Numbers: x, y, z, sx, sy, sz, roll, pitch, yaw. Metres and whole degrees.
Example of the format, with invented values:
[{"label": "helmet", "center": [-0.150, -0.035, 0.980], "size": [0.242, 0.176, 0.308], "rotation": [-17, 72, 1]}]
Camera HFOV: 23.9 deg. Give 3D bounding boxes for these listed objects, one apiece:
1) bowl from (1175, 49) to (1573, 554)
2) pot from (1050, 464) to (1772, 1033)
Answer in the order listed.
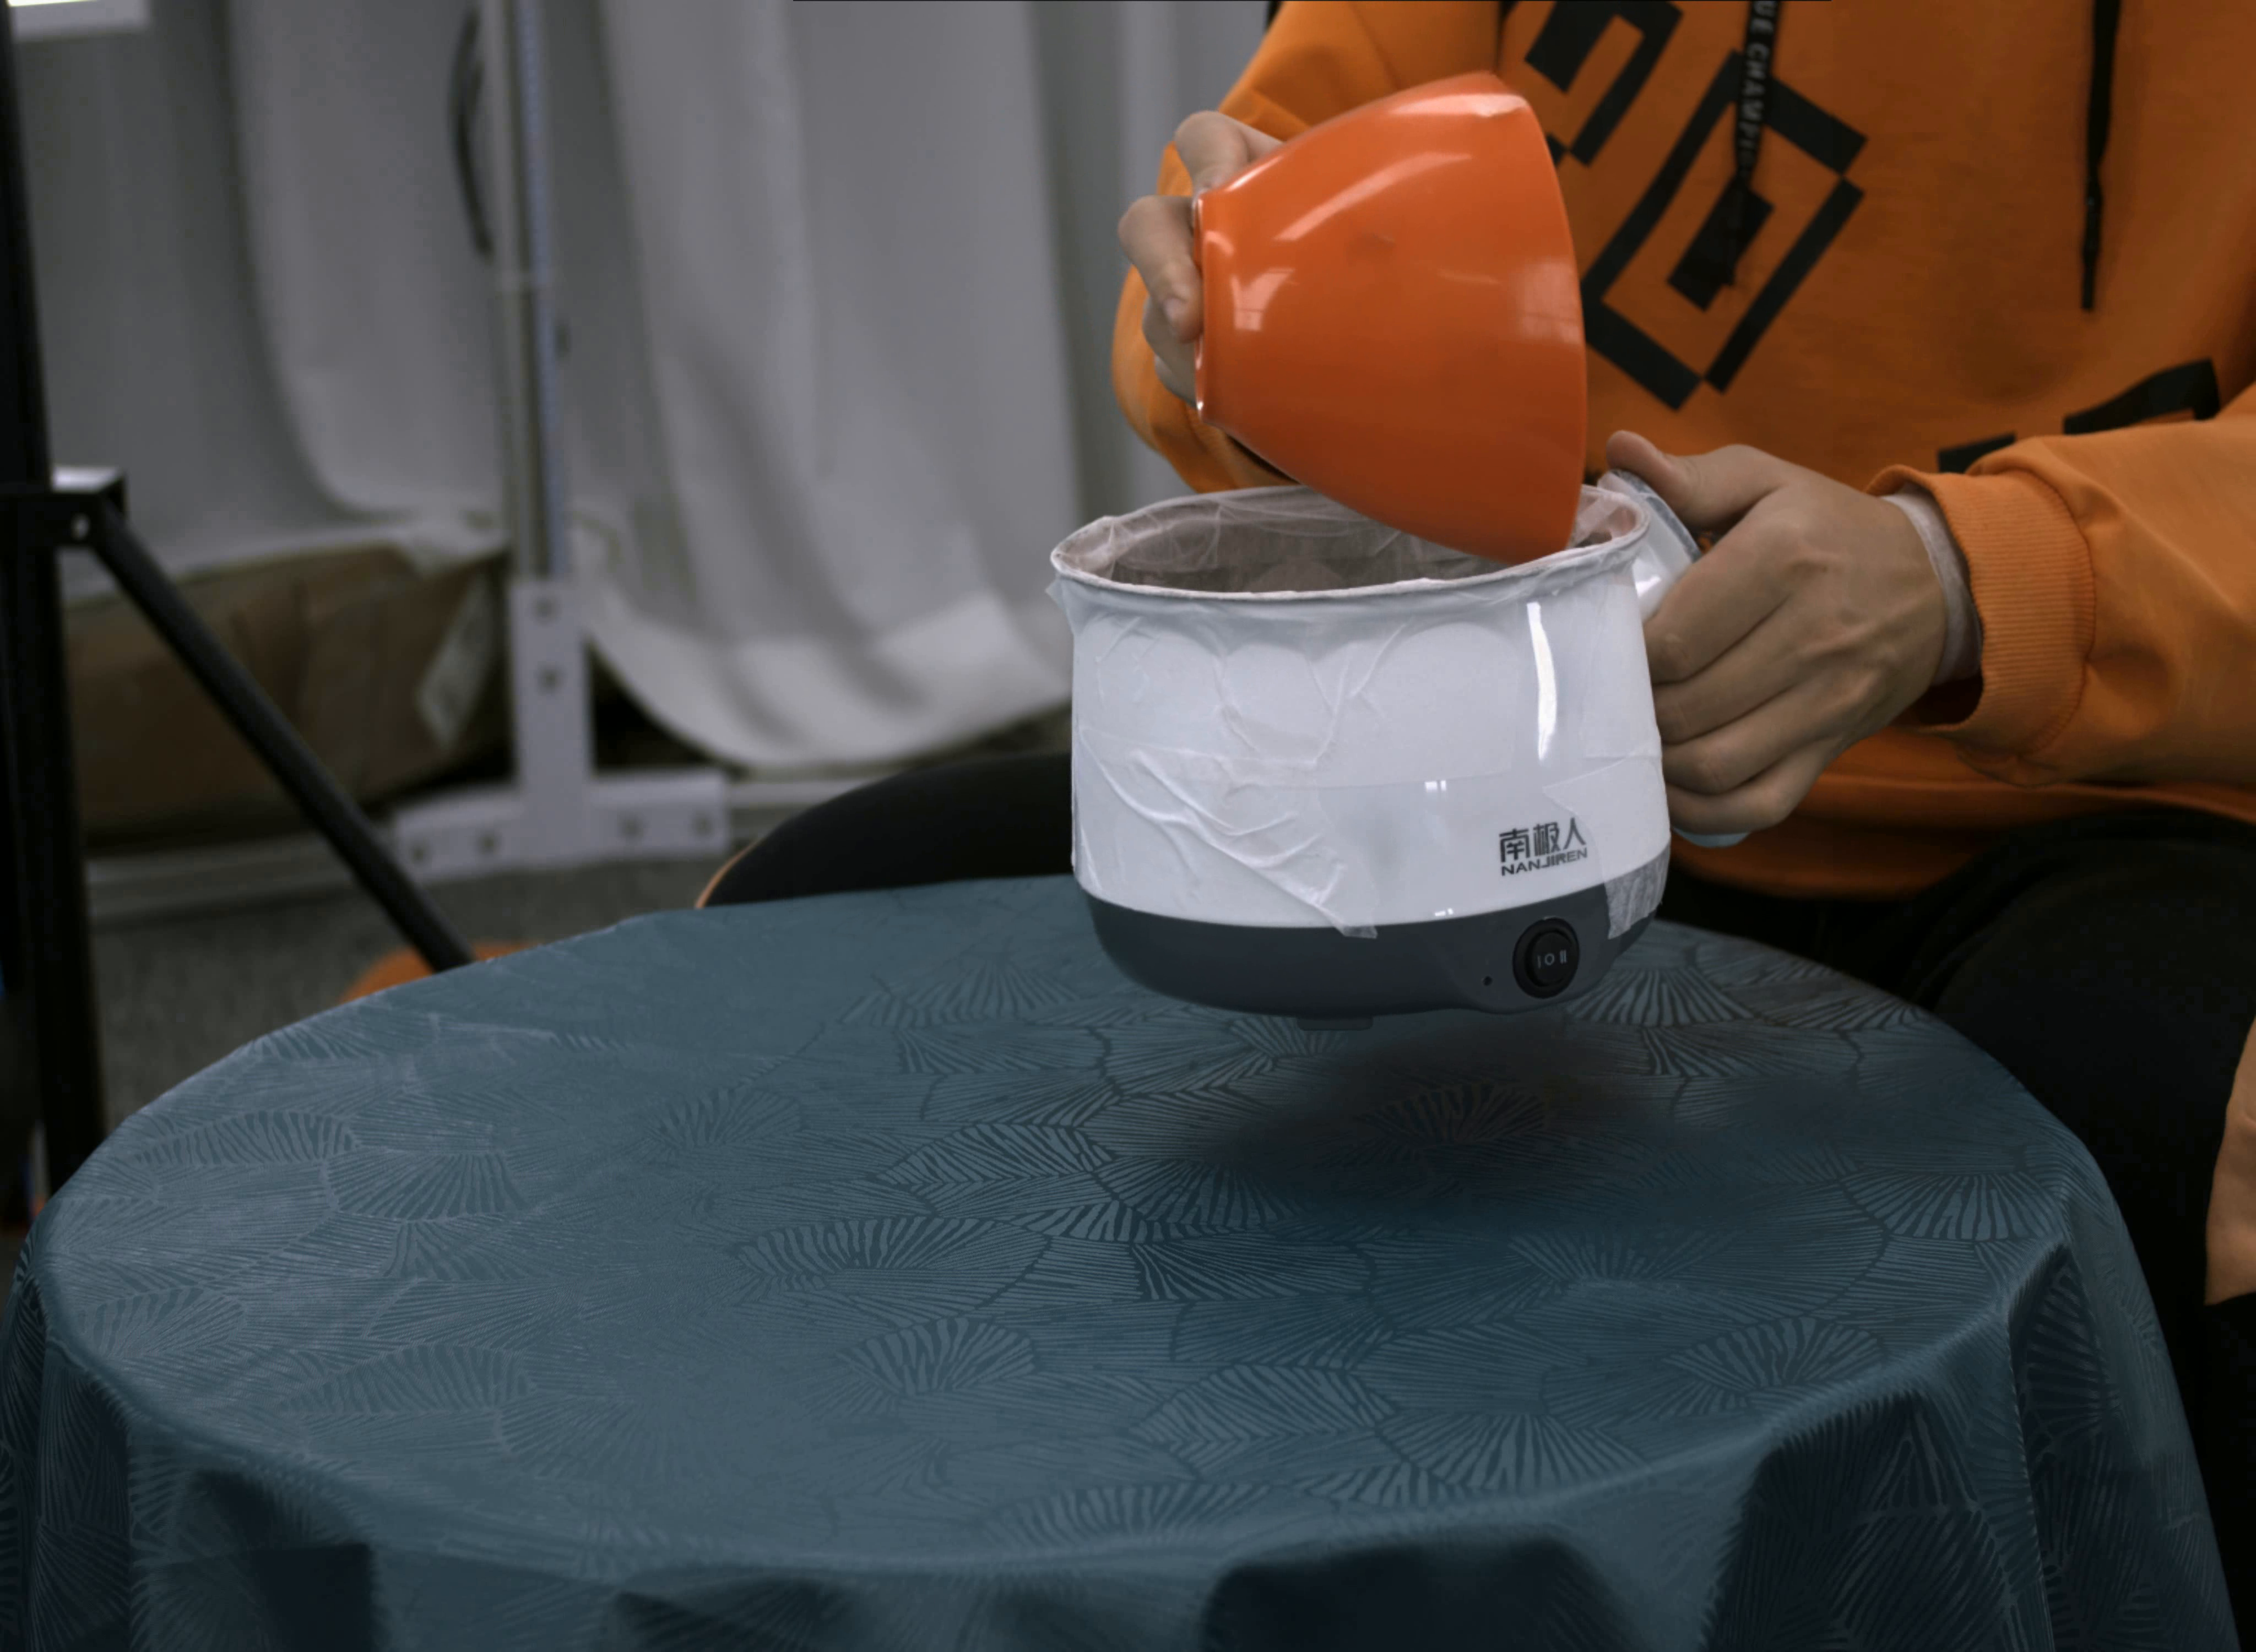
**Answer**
[{"label": "bowl", "center": [0.067, -0.149, 1.548], "size": [0.104, 0.148, 0.149], "rotation": [-2, 16, -3]}, {"label": "pot", "center": [0.092, -0.029, 1.582], "size": [0.228, 0.136, 0.182], "rotation": [-13, 16, -31]}]
